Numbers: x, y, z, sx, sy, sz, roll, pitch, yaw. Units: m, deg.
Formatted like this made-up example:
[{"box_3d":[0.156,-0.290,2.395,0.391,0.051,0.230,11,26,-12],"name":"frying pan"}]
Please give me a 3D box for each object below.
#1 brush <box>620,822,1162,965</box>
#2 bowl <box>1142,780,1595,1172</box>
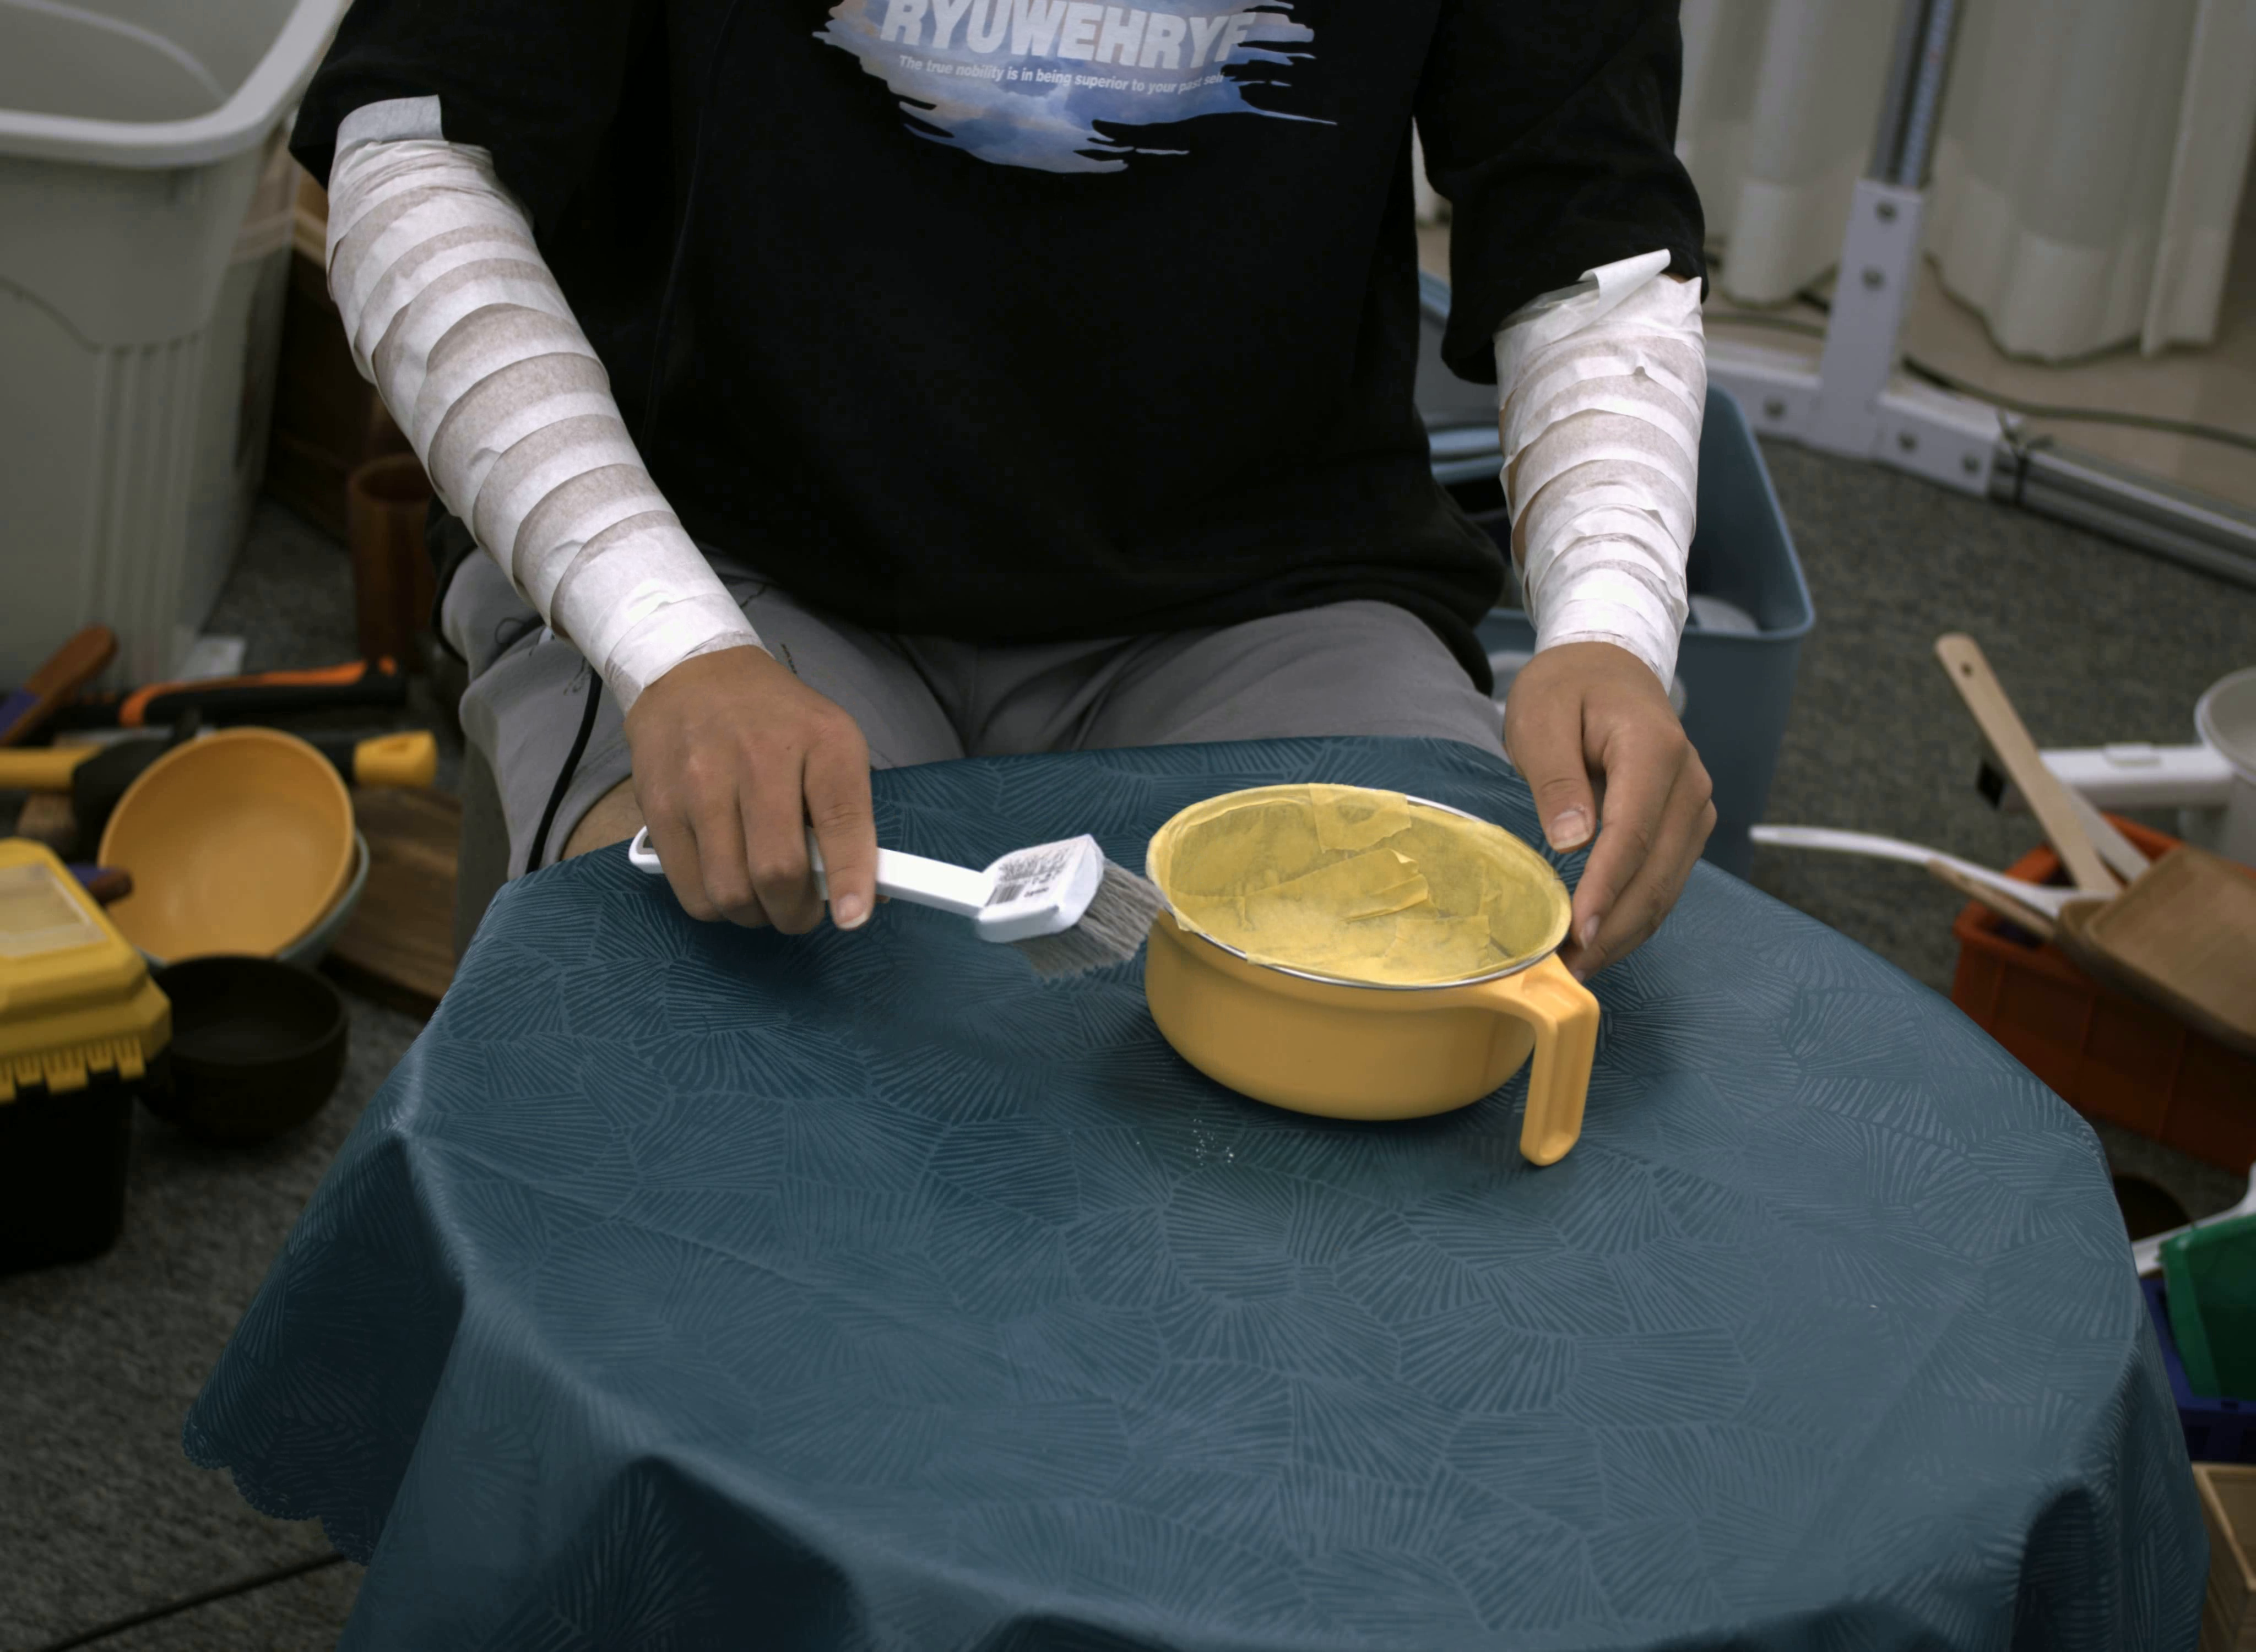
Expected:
[{"box_3d":[-0.085,0.024,1.886,0.245,0.050,0.034,0,57,43],"name":"brush"},{"box_3d":[0.086,0.053,1.887,0.180,0.074,0.152,27,29,33],"name":"bowl"}]
